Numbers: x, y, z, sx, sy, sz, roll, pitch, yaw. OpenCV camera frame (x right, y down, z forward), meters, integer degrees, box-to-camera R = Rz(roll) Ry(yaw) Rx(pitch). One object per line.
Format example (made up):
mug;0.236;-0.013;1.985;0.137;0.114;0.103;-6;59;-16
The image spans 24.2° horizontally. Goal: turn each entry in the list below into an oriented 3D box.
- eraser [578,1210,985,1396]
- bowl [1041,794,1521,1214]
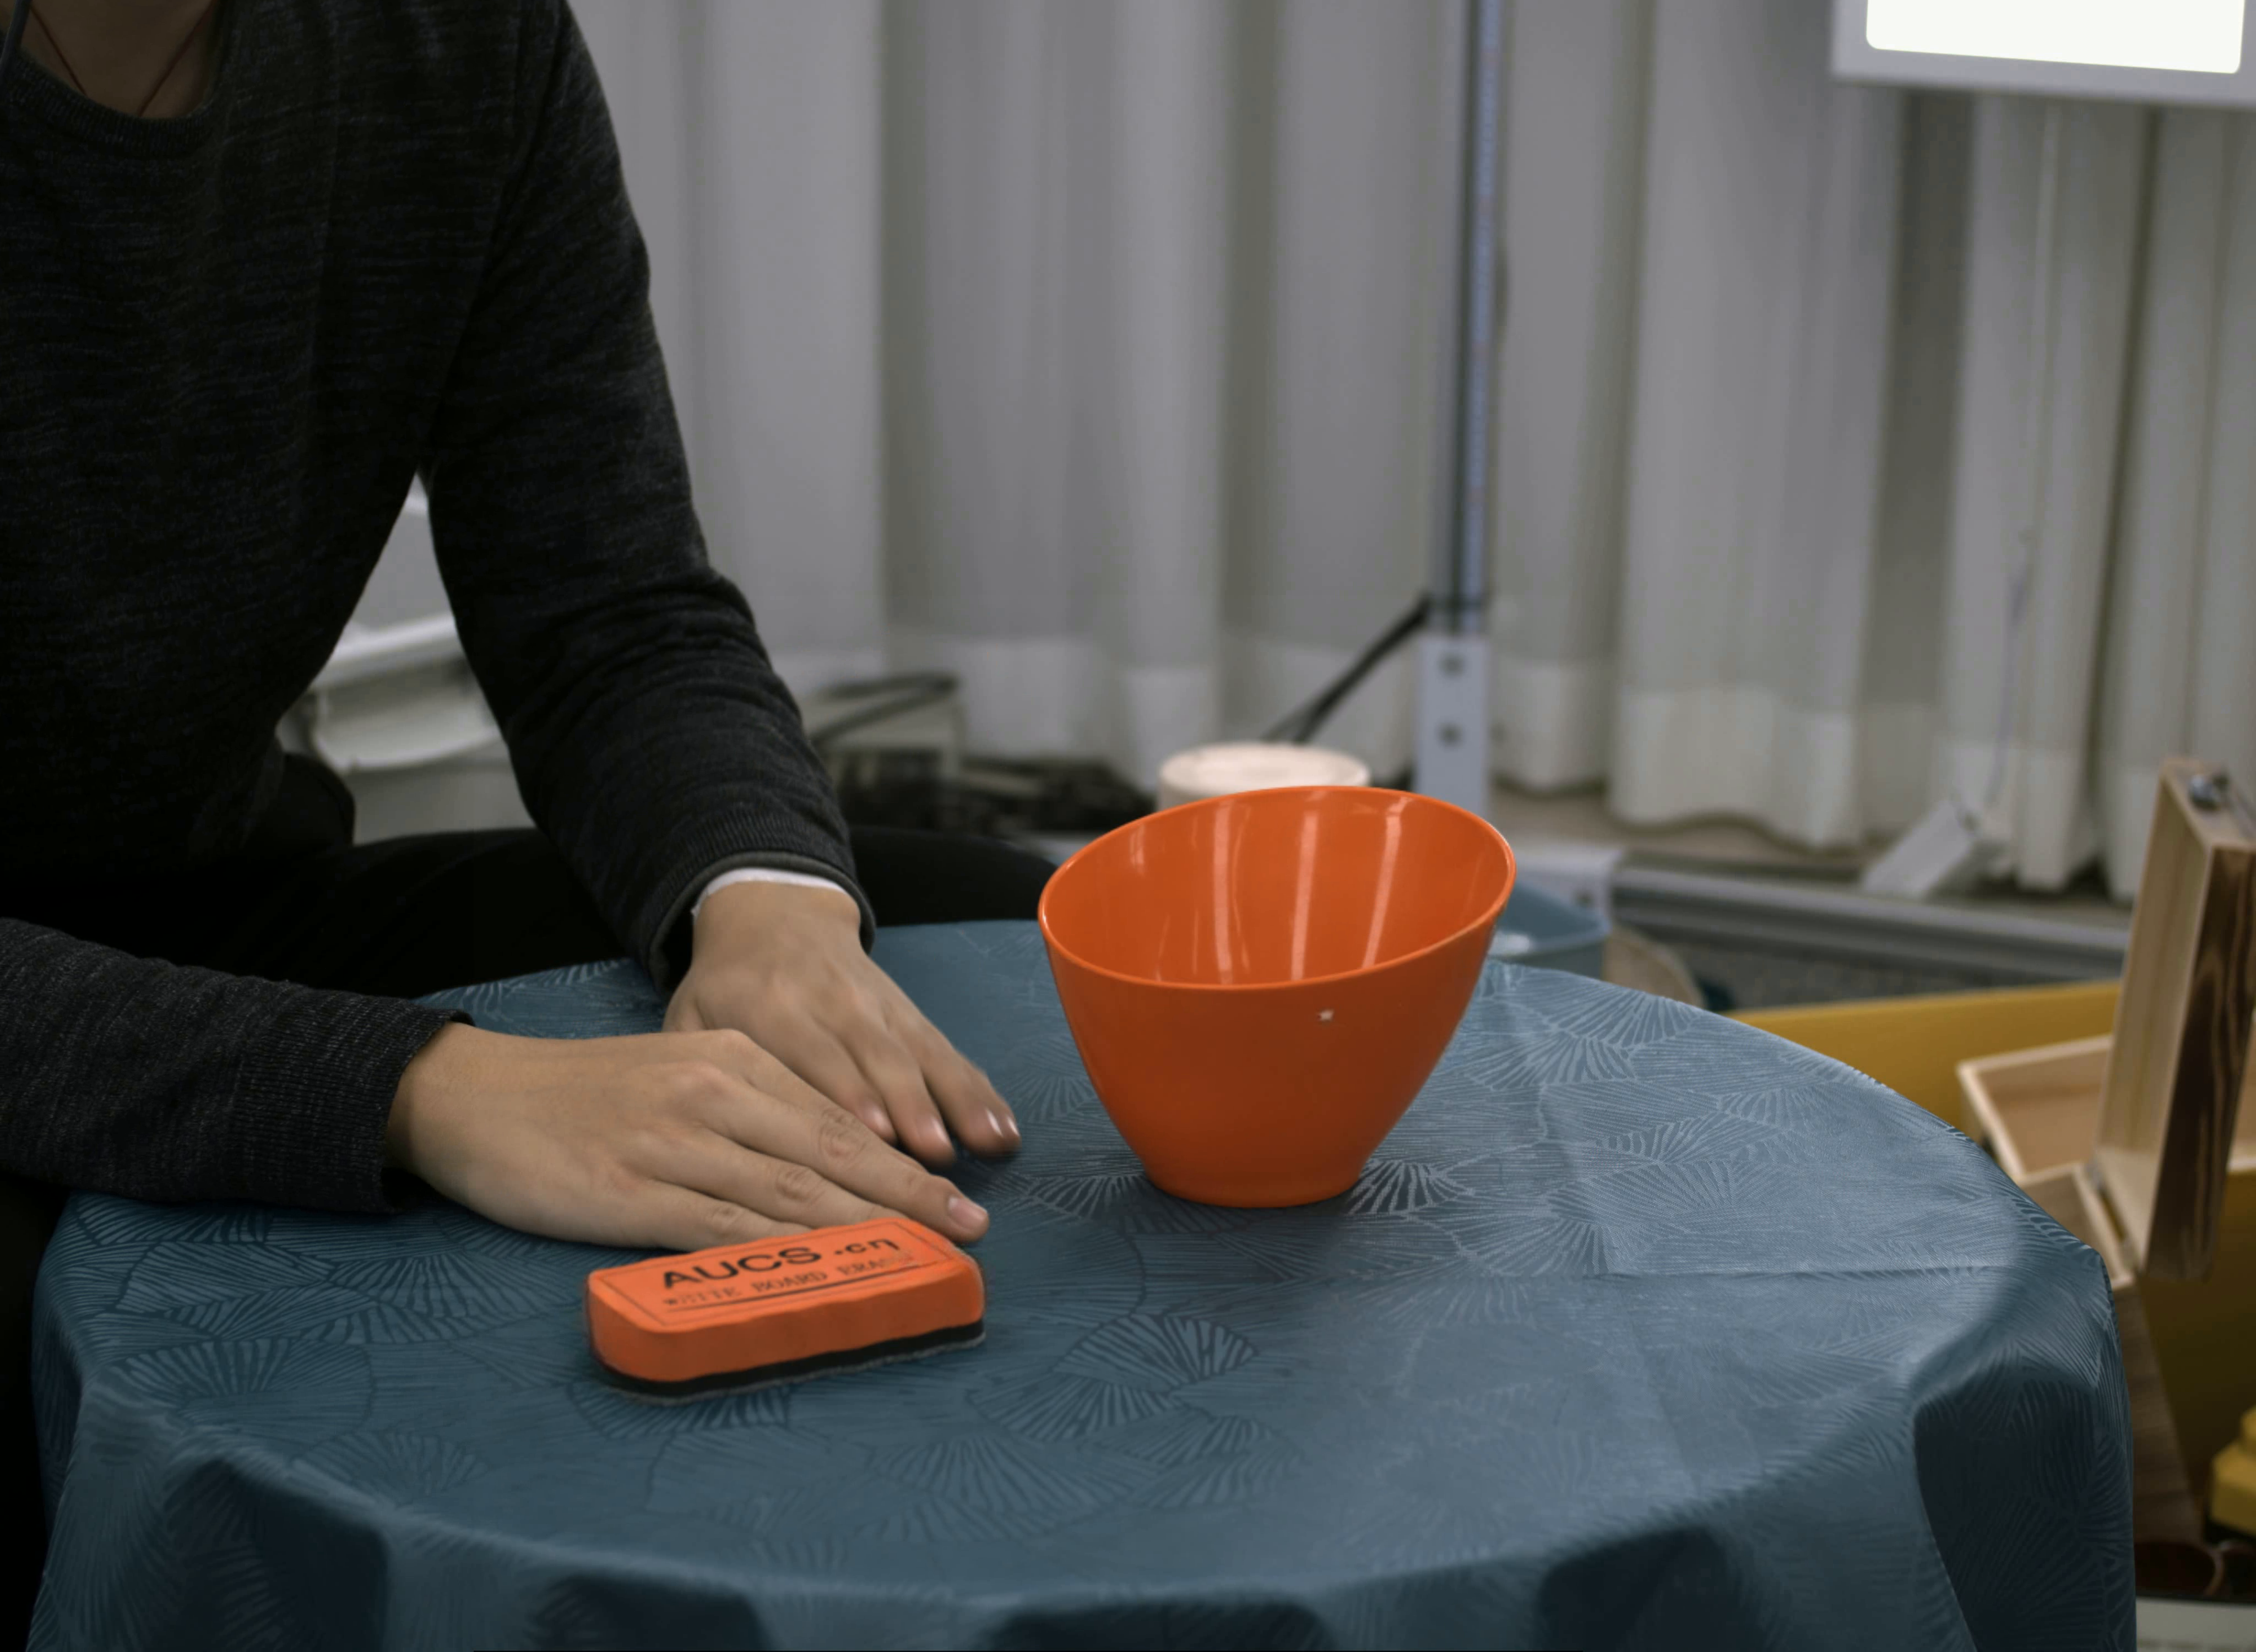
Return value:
eraser;-0.097;0.134;1.485;0.108;0.023;0.058;-7;19;-30
bowl;0.046;0.058;1.630;0.147;0.105;0.147;1;16;0
